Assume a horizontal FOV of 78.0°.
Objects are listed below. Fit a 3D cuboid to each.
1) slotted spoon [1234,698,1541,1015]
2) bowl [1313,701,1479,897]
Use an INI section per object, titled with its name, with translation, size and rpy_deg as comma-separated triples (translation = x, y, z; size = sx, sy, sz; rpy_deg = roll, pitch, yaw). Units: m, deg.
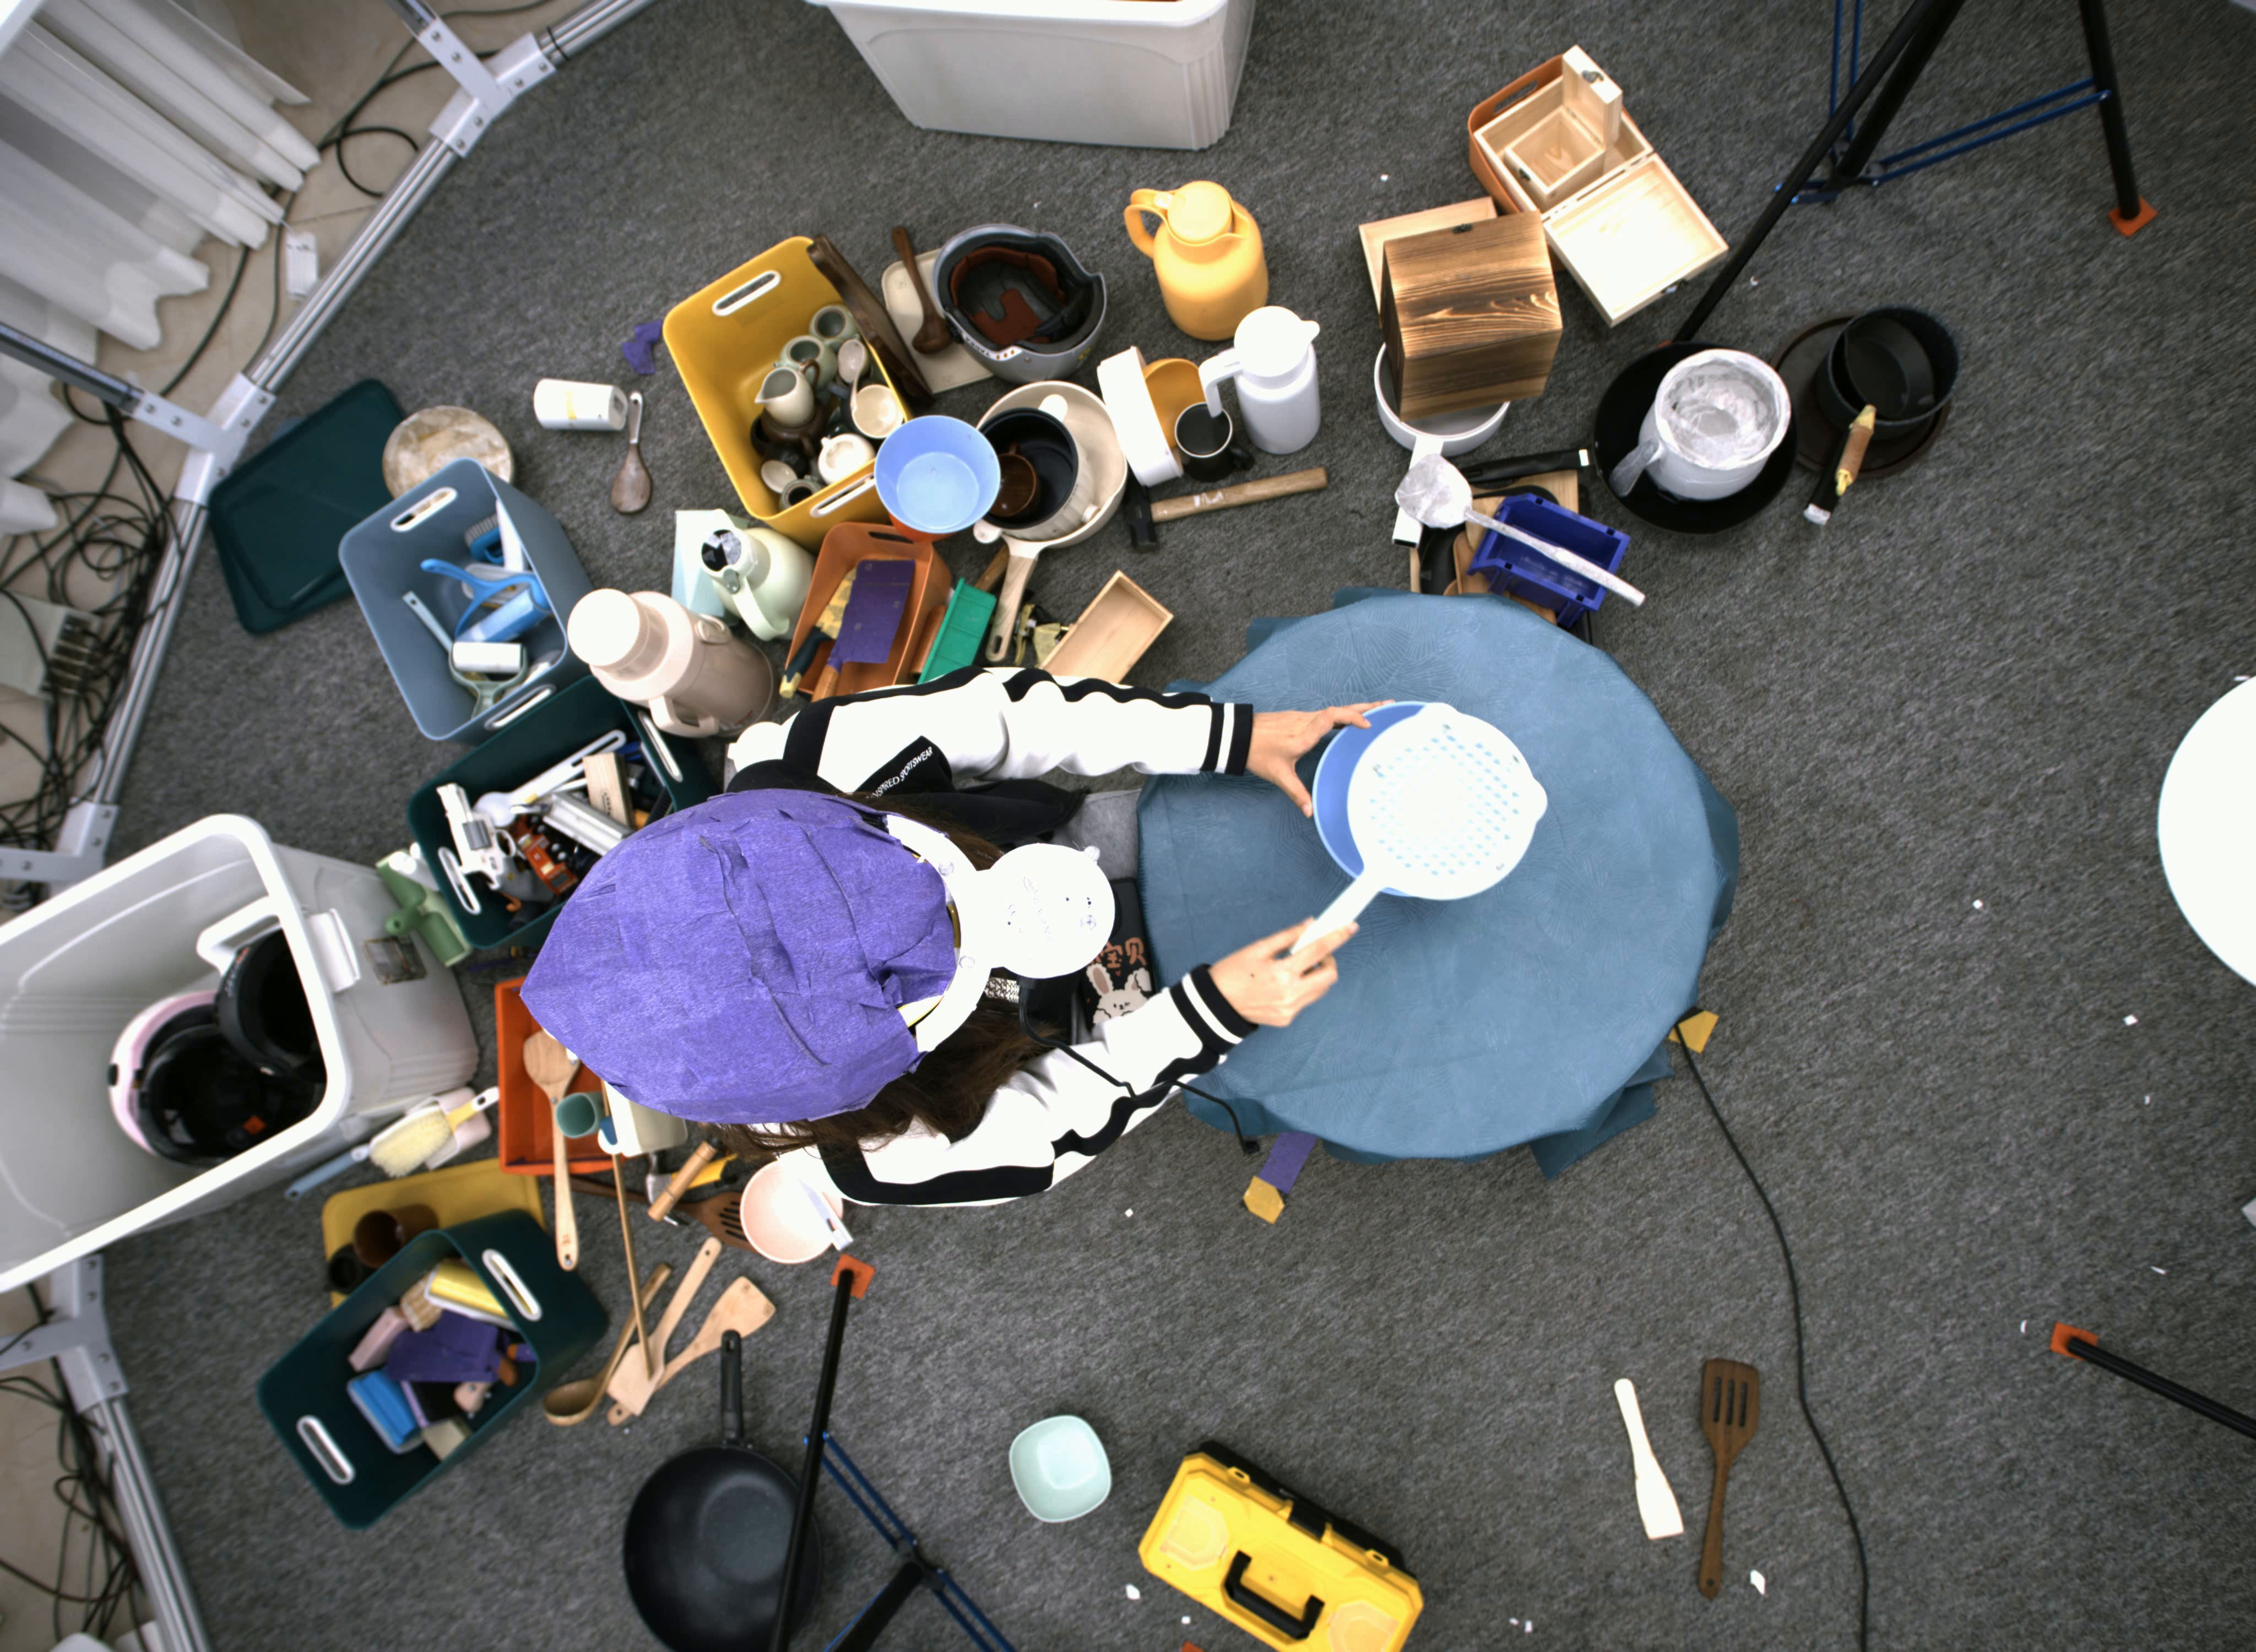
[slotted spoon]
translation = 0.223, 0.047, 1.297
size = 0.169, 0.075, 0.360
rpy_deg = 43, 96, 8
[bowl]
translation = 0.290, -0.024, 1.414
size = 0.197, 0.095, 0.195
rpy_deg = -1, 87, 10
